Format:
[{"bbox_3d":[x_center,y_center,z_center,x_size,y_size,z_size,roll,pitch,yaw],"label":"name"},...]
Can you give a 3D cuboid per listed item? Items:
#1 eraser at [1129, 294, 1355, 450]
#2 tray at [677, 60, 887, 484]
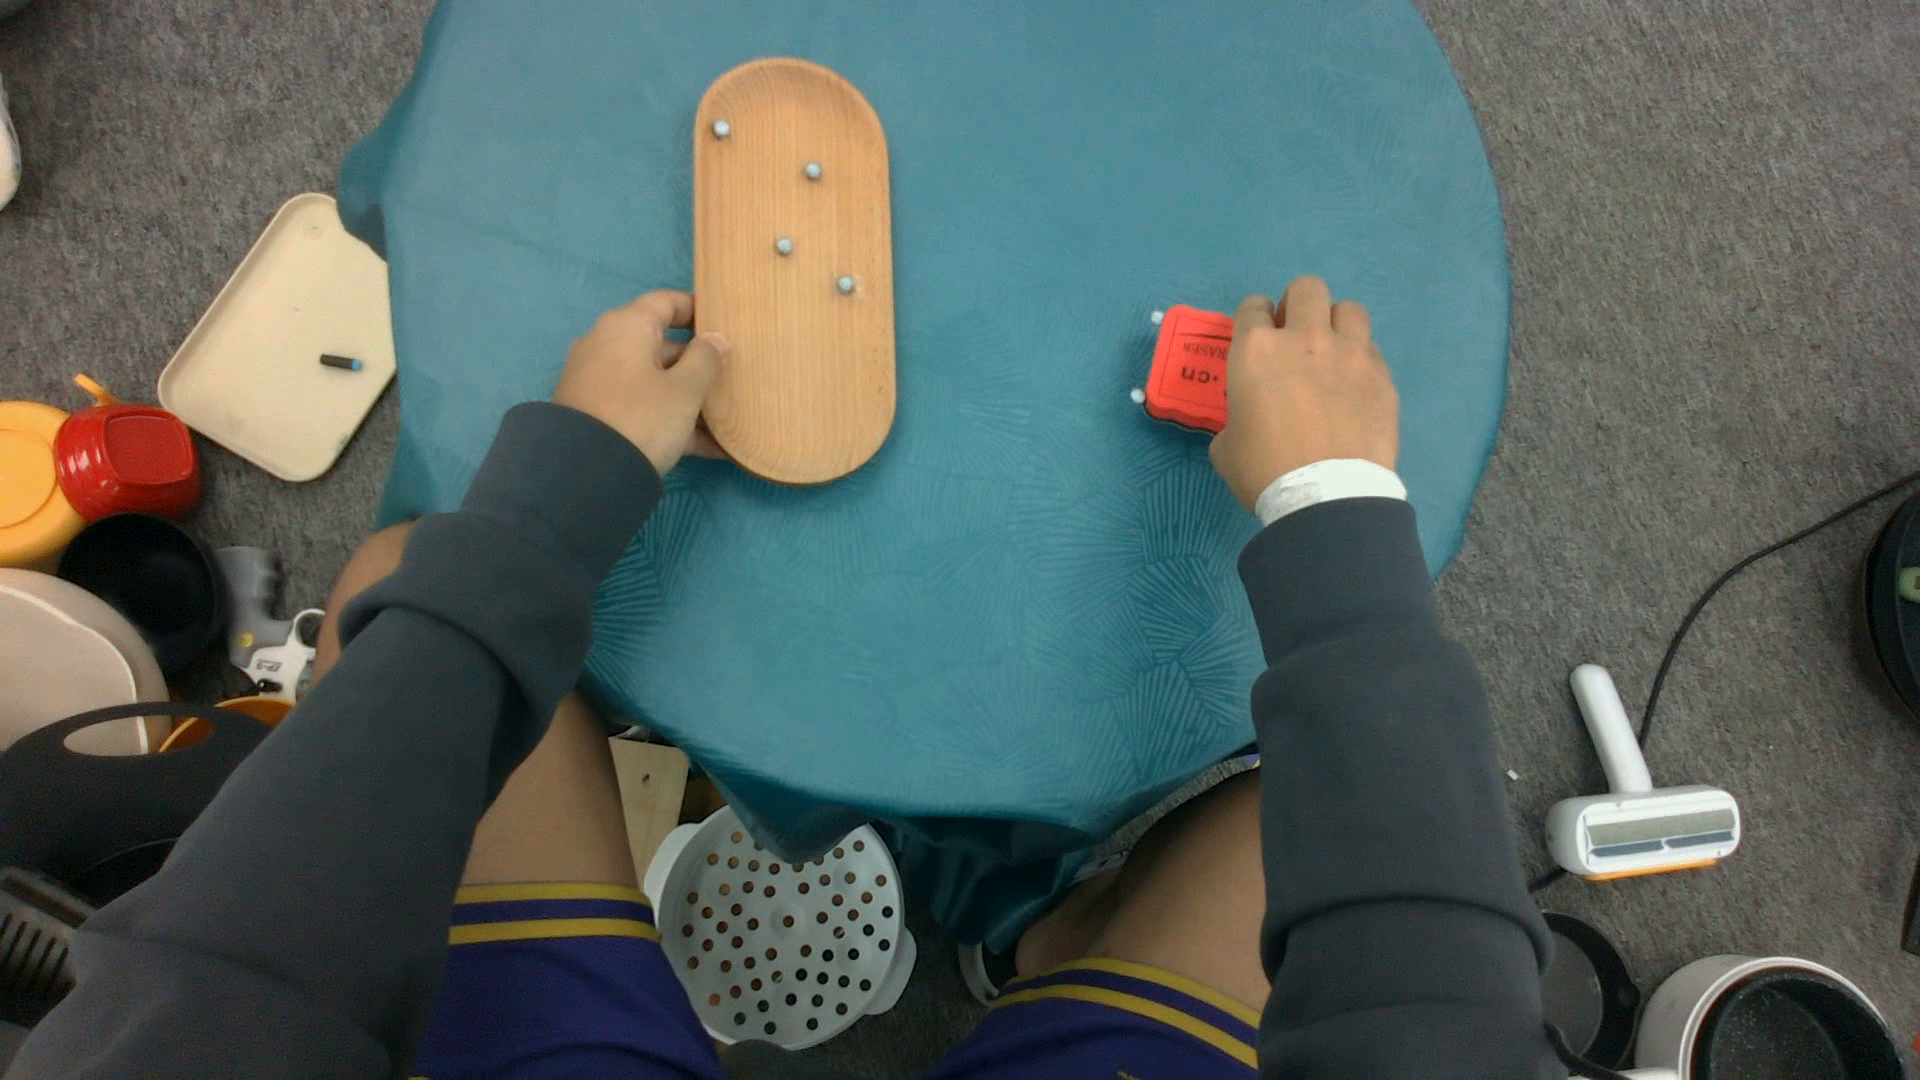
[{"bbox_3d":[0.144,-0.087,0.709,0.108,0.023,0.059,15,68,3],"label":"eraser"},{"bbox_3d":[-0.091,-0.139,0.702,0.102,0.020,0.231,0,77,-16],"label":"tray"}]
